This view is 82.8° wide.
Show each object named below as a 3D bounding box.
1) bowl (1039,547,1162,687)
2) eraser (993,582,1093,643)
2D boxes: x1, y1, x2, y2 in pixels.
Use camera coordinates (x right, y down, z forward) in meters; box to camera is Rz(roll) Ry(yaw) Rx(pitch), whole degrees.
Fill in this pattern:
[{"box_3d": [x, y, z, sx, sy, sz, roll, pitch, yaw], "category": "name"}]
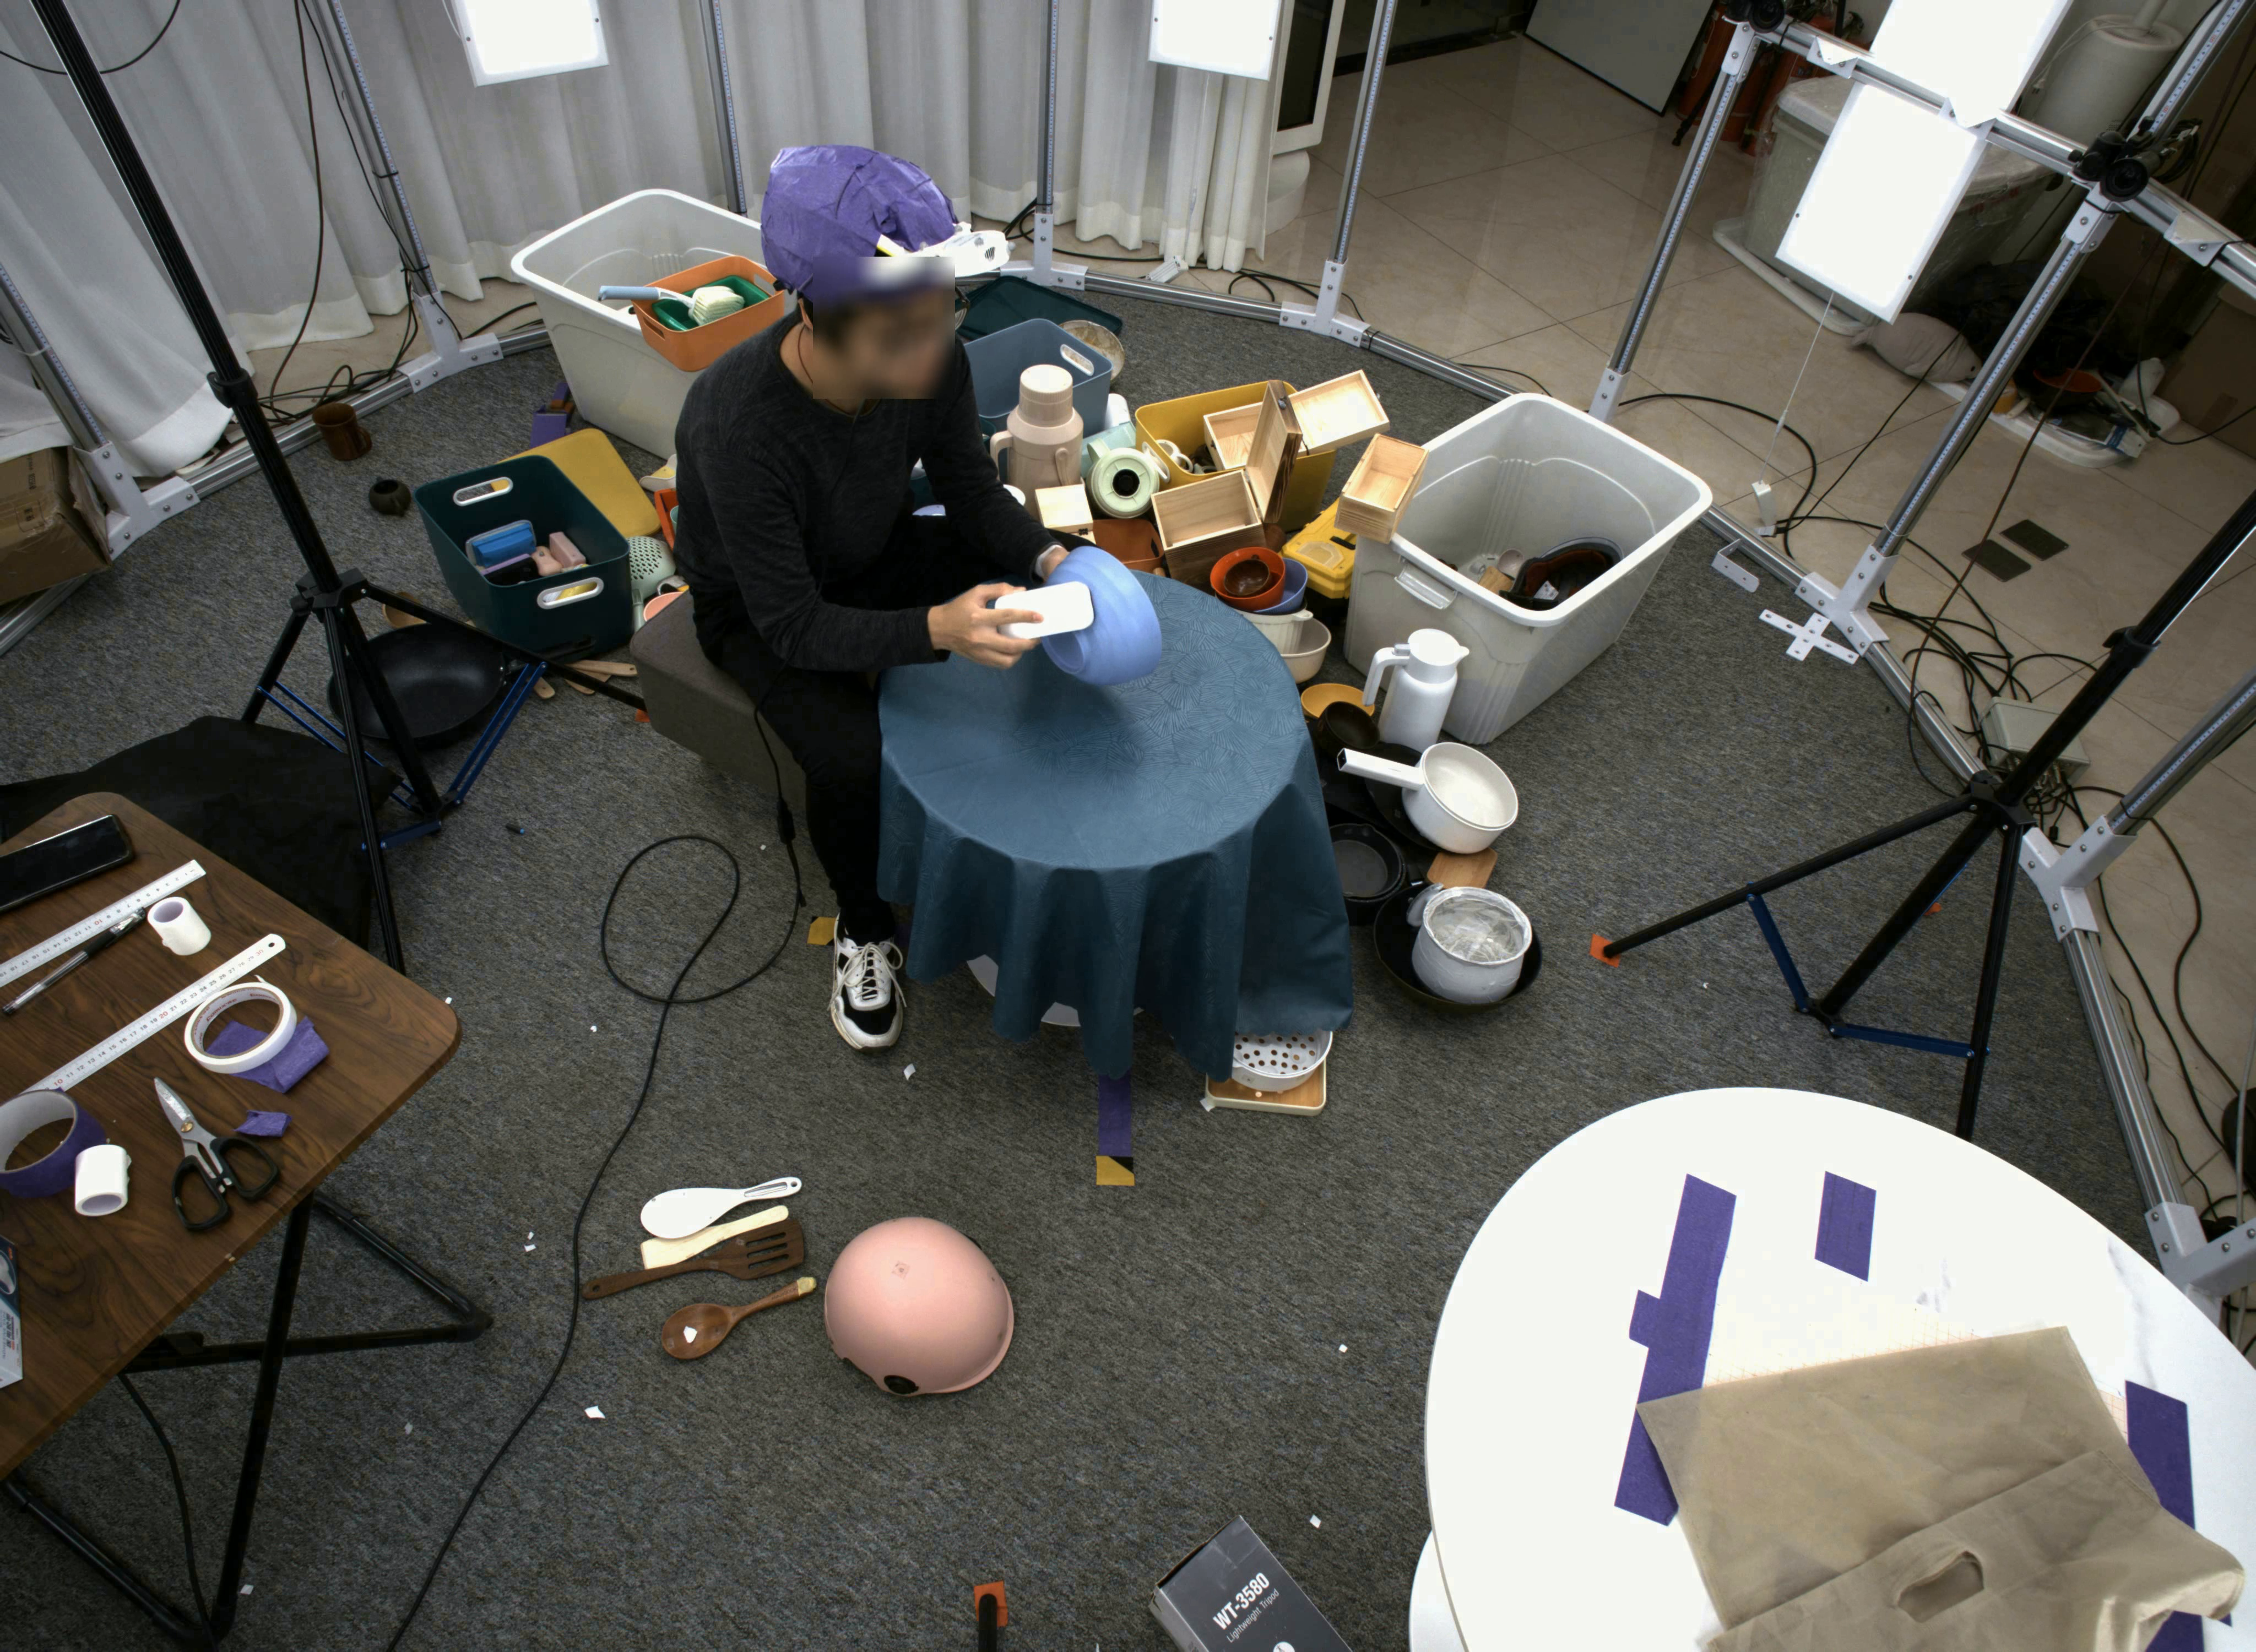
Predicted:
[{"box_3d": [-0.056, -0.265, 1.728, 0.096, 0.192, 0.199, -35, 60, -27], "category": "bowl"}, {"box_3d": [-0.110, -0.276, 1.661, 0.131, 0.063, 0.034, -7, 3, 19], "category": "eraser"}]
